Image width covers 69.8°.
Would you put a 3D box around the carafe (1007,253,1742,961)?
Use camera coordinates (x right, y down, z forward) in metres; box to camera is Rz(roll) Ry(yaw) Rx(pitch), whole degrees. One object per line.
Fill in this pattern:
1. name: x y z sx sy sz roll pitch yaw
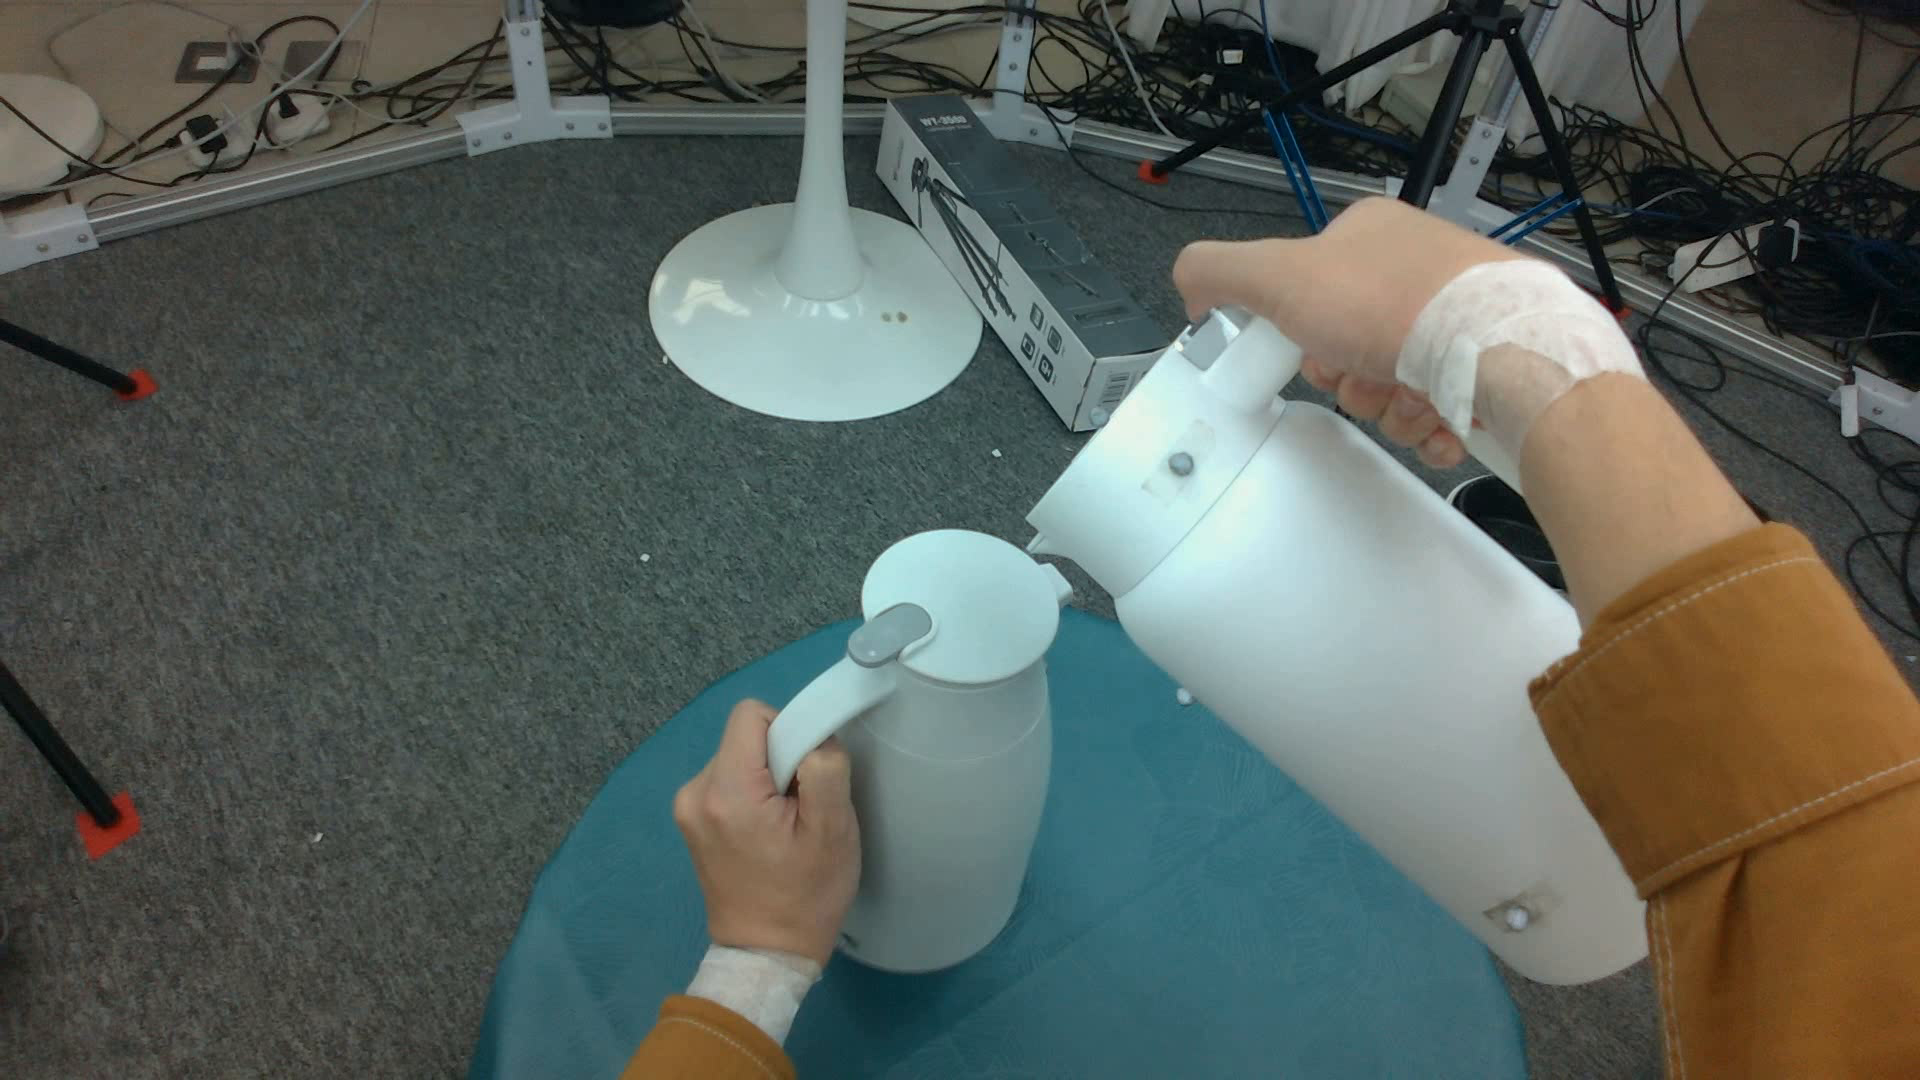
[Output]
1. carafe: 0.164 0.022 0.521 0.269 0.172 0.124 41 36 2

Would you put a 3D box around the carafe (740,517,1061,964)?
1. carafe: -0.033 0.109 0.701 0.168 0.247 0.133 -24 55 -28
